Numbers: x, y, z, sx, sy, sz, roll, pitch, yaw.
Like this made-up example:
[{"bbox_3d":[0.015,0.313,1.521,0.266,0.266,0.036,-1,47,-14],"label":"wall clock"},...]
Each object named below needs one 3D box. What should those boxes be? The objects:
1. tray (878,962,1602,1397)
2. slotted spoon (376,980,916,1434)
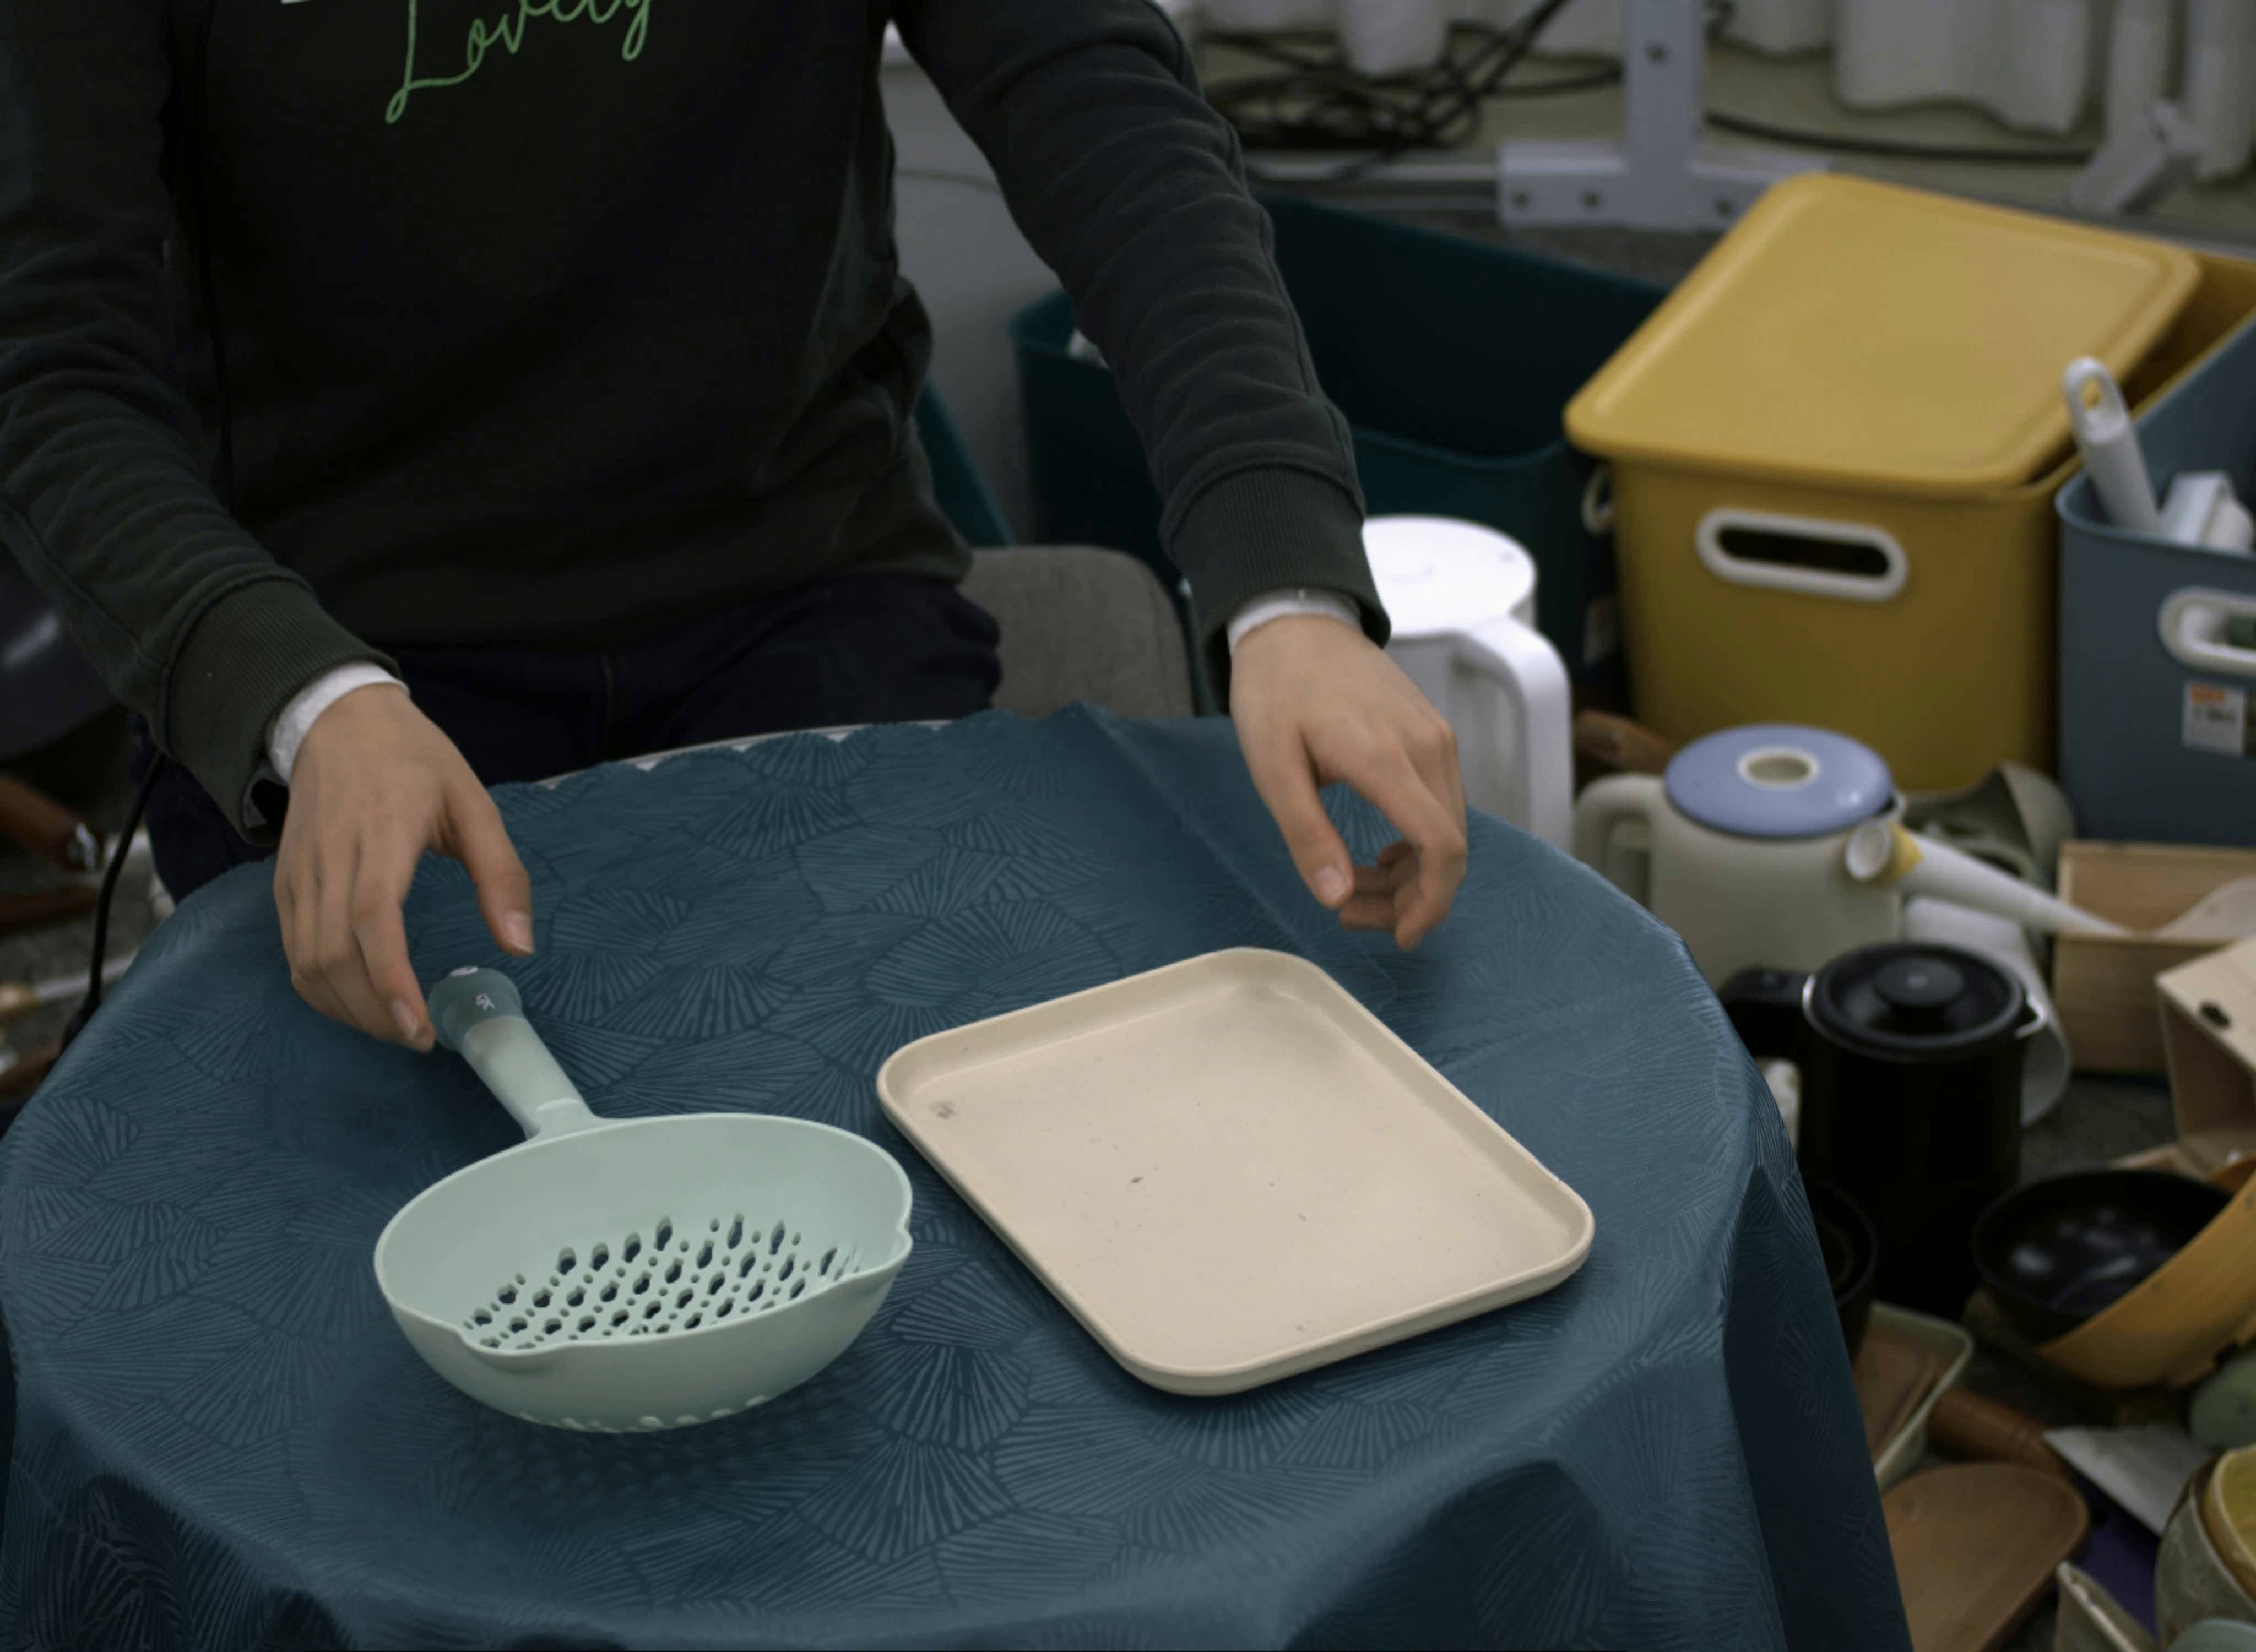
[{"bbox_3d":[0.034,0.115,1.853,0.172,0.017,0.241,-15,29,-23],"label":"tray"},{"bbox_3d":[-0.181,0.108,1.839,0.169,0.074,0.362,-11,27,-17],"label":"slotted spoon"}]
